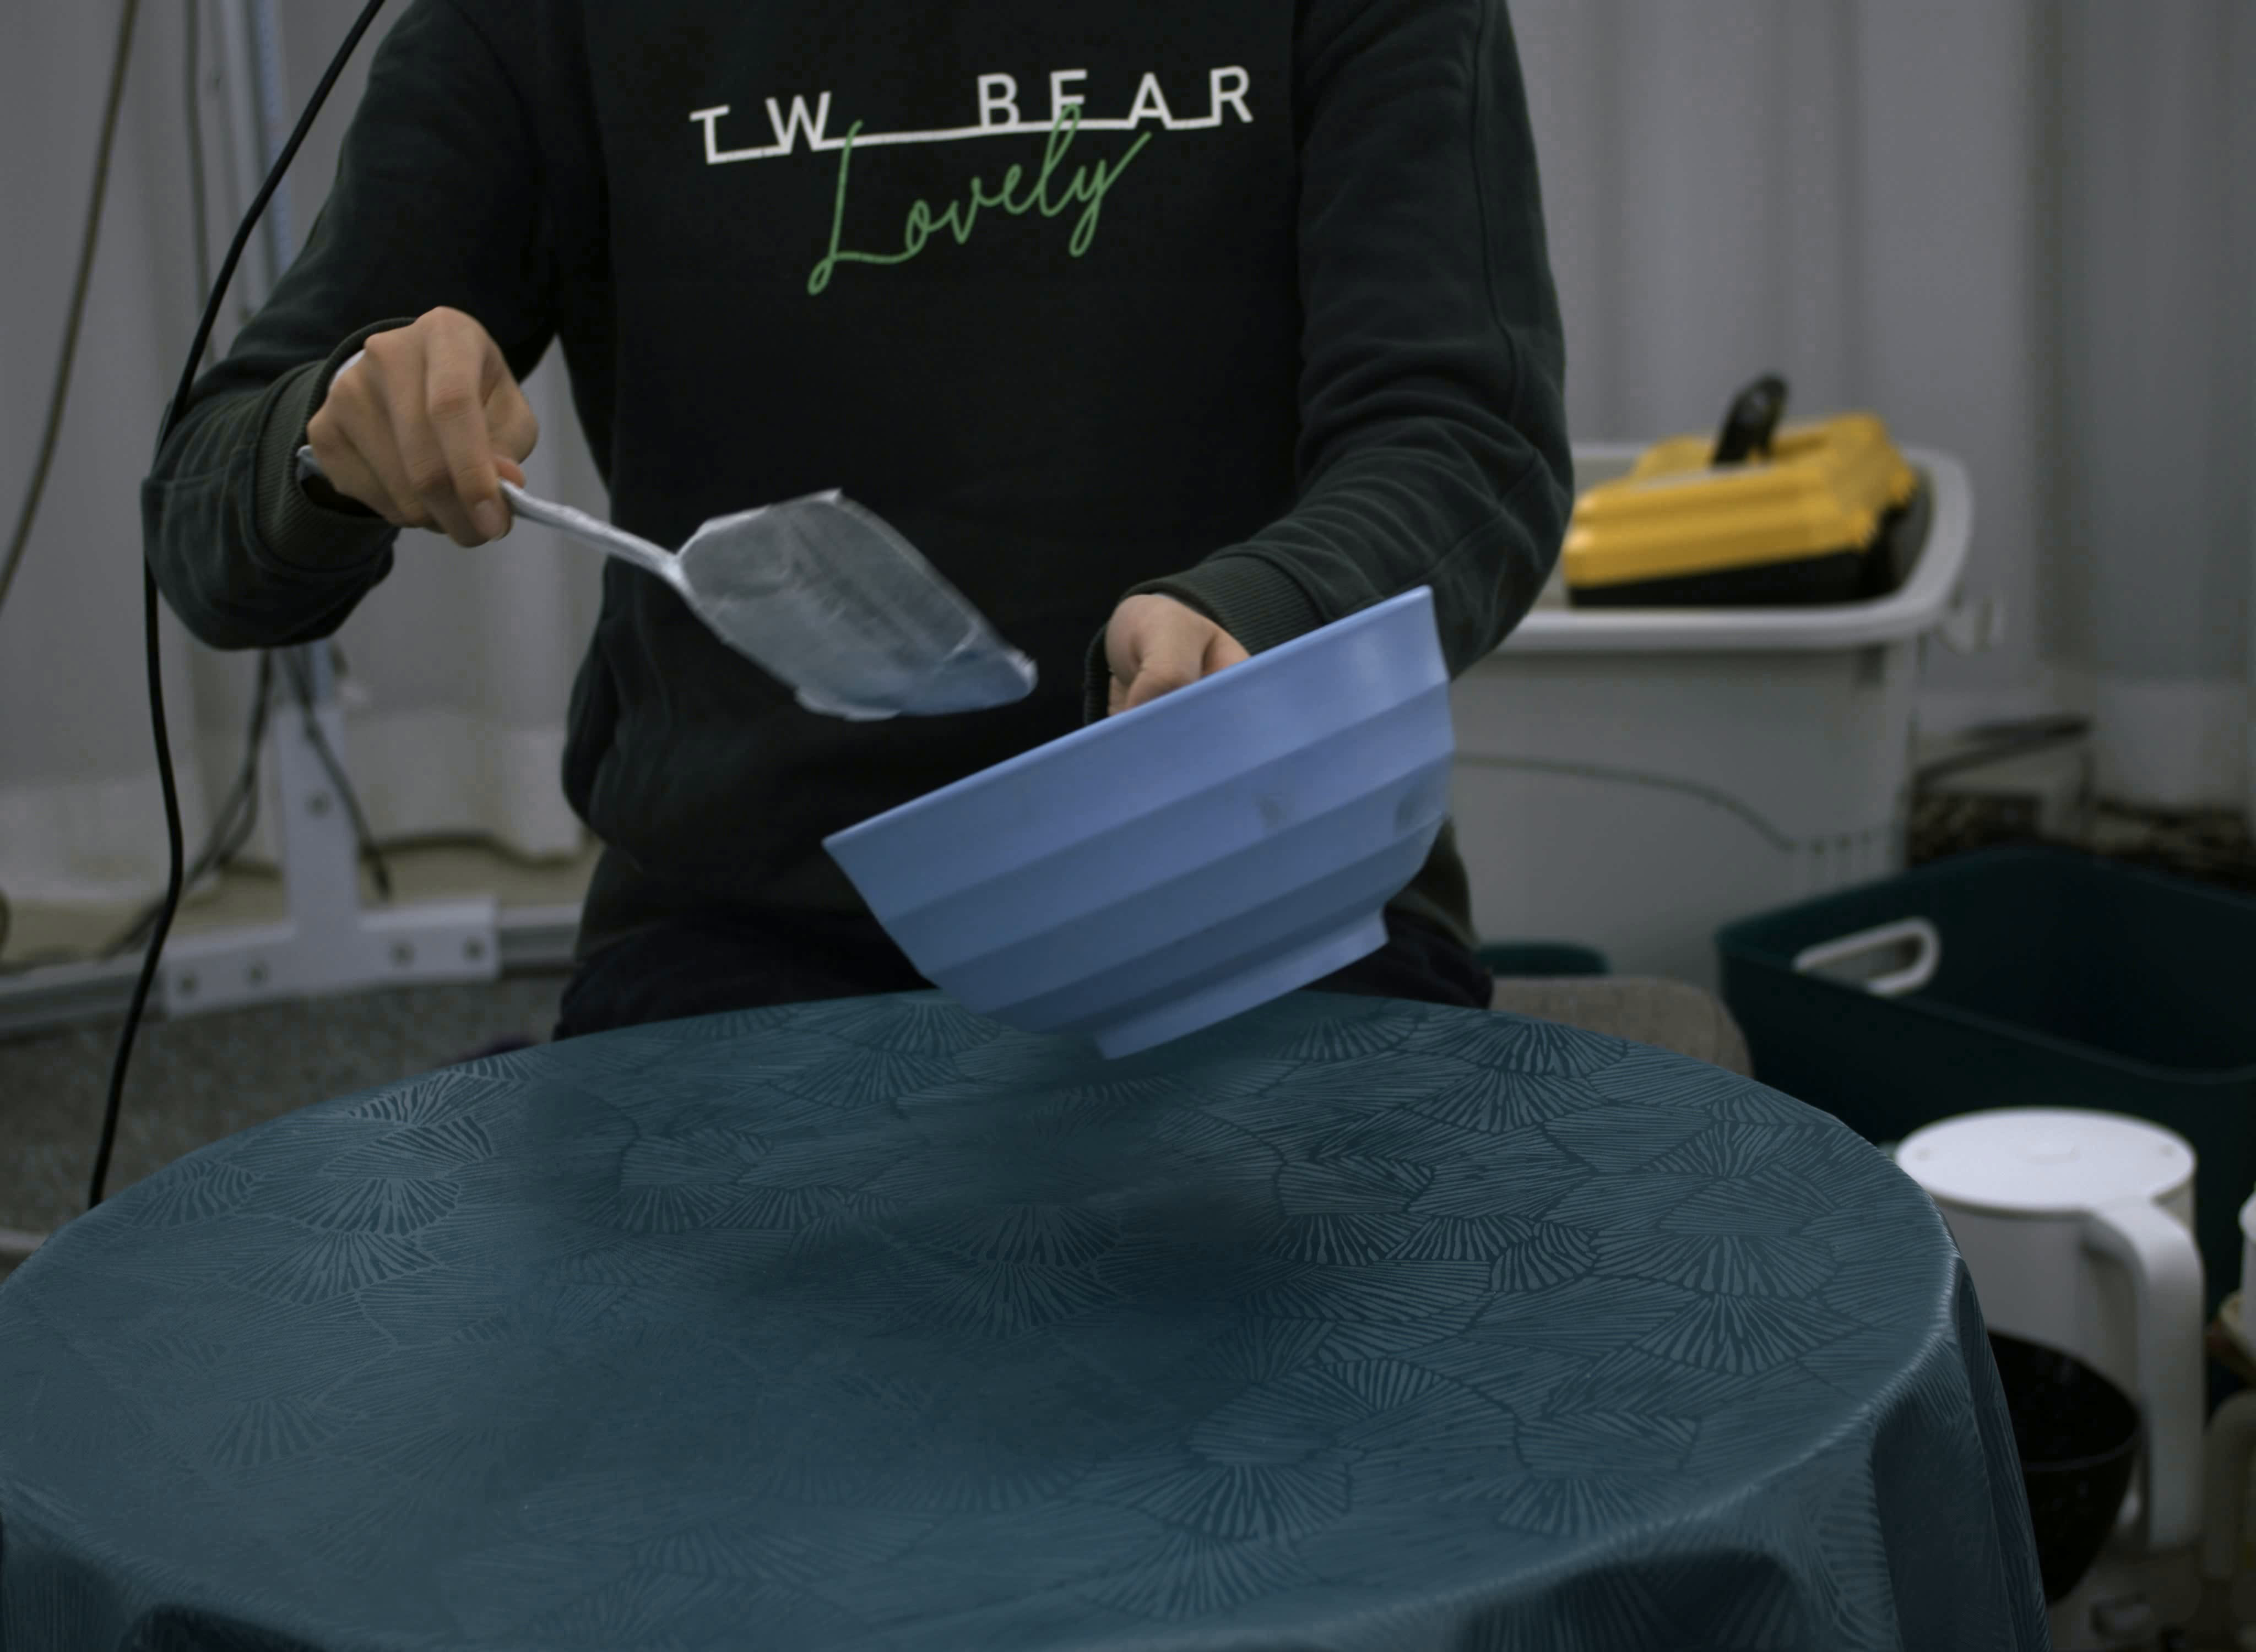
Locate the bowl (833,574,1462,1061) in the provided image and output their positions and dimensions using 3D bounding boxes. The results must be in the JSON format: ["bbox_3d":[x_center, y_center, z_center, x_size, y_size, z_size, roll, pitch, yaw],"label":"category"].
[{"bbox_3d":[0.020,0.008,1.625,0.196,0.095,0.196,-24,1,0],"label":"bowl"}]

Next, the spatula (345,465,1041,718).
[{"bbox_3d":[-0.156,-0.088,1.696,0.097,0.045,0.368,42,-11,-34],"label":"spatula"}]
